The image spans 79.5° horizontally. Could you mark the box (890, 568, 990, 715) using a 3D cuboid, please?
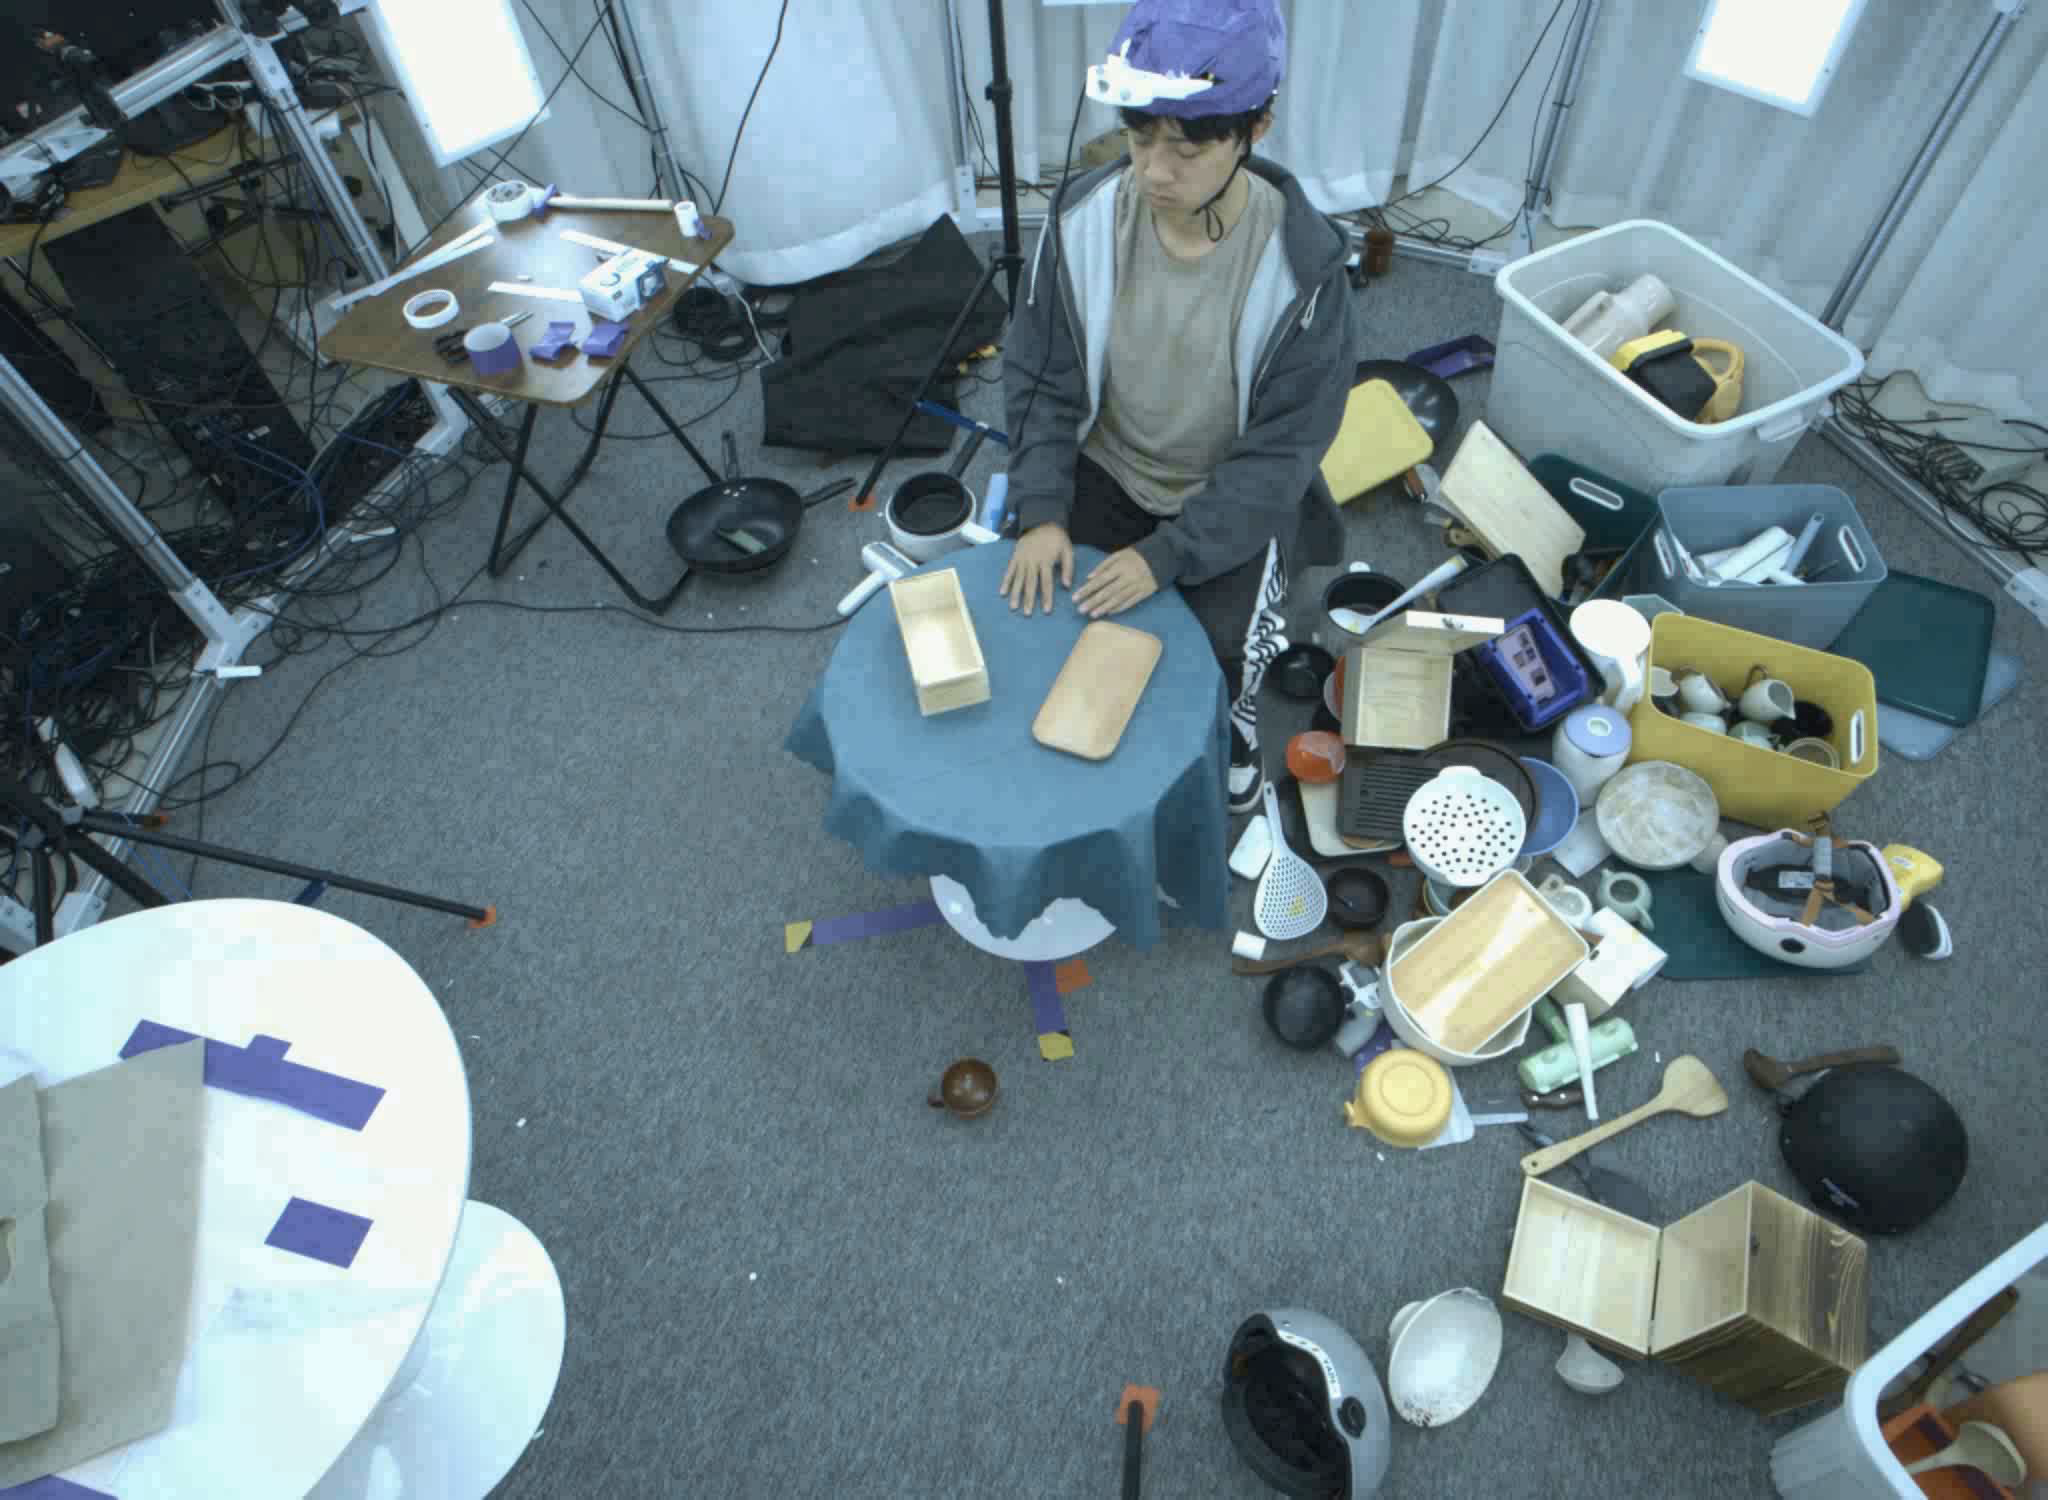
[{"bbox_3d":[-0.129,-0.168,1.865,0.108,0.081,0.208,-14,55,-7],"label":"box"}]

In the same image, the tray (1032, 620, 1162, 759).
[{"bbox_3d":[0.111,-0.093,1.841,0.129,0.023,0.251,21,57,13],"label":"tray"}]
